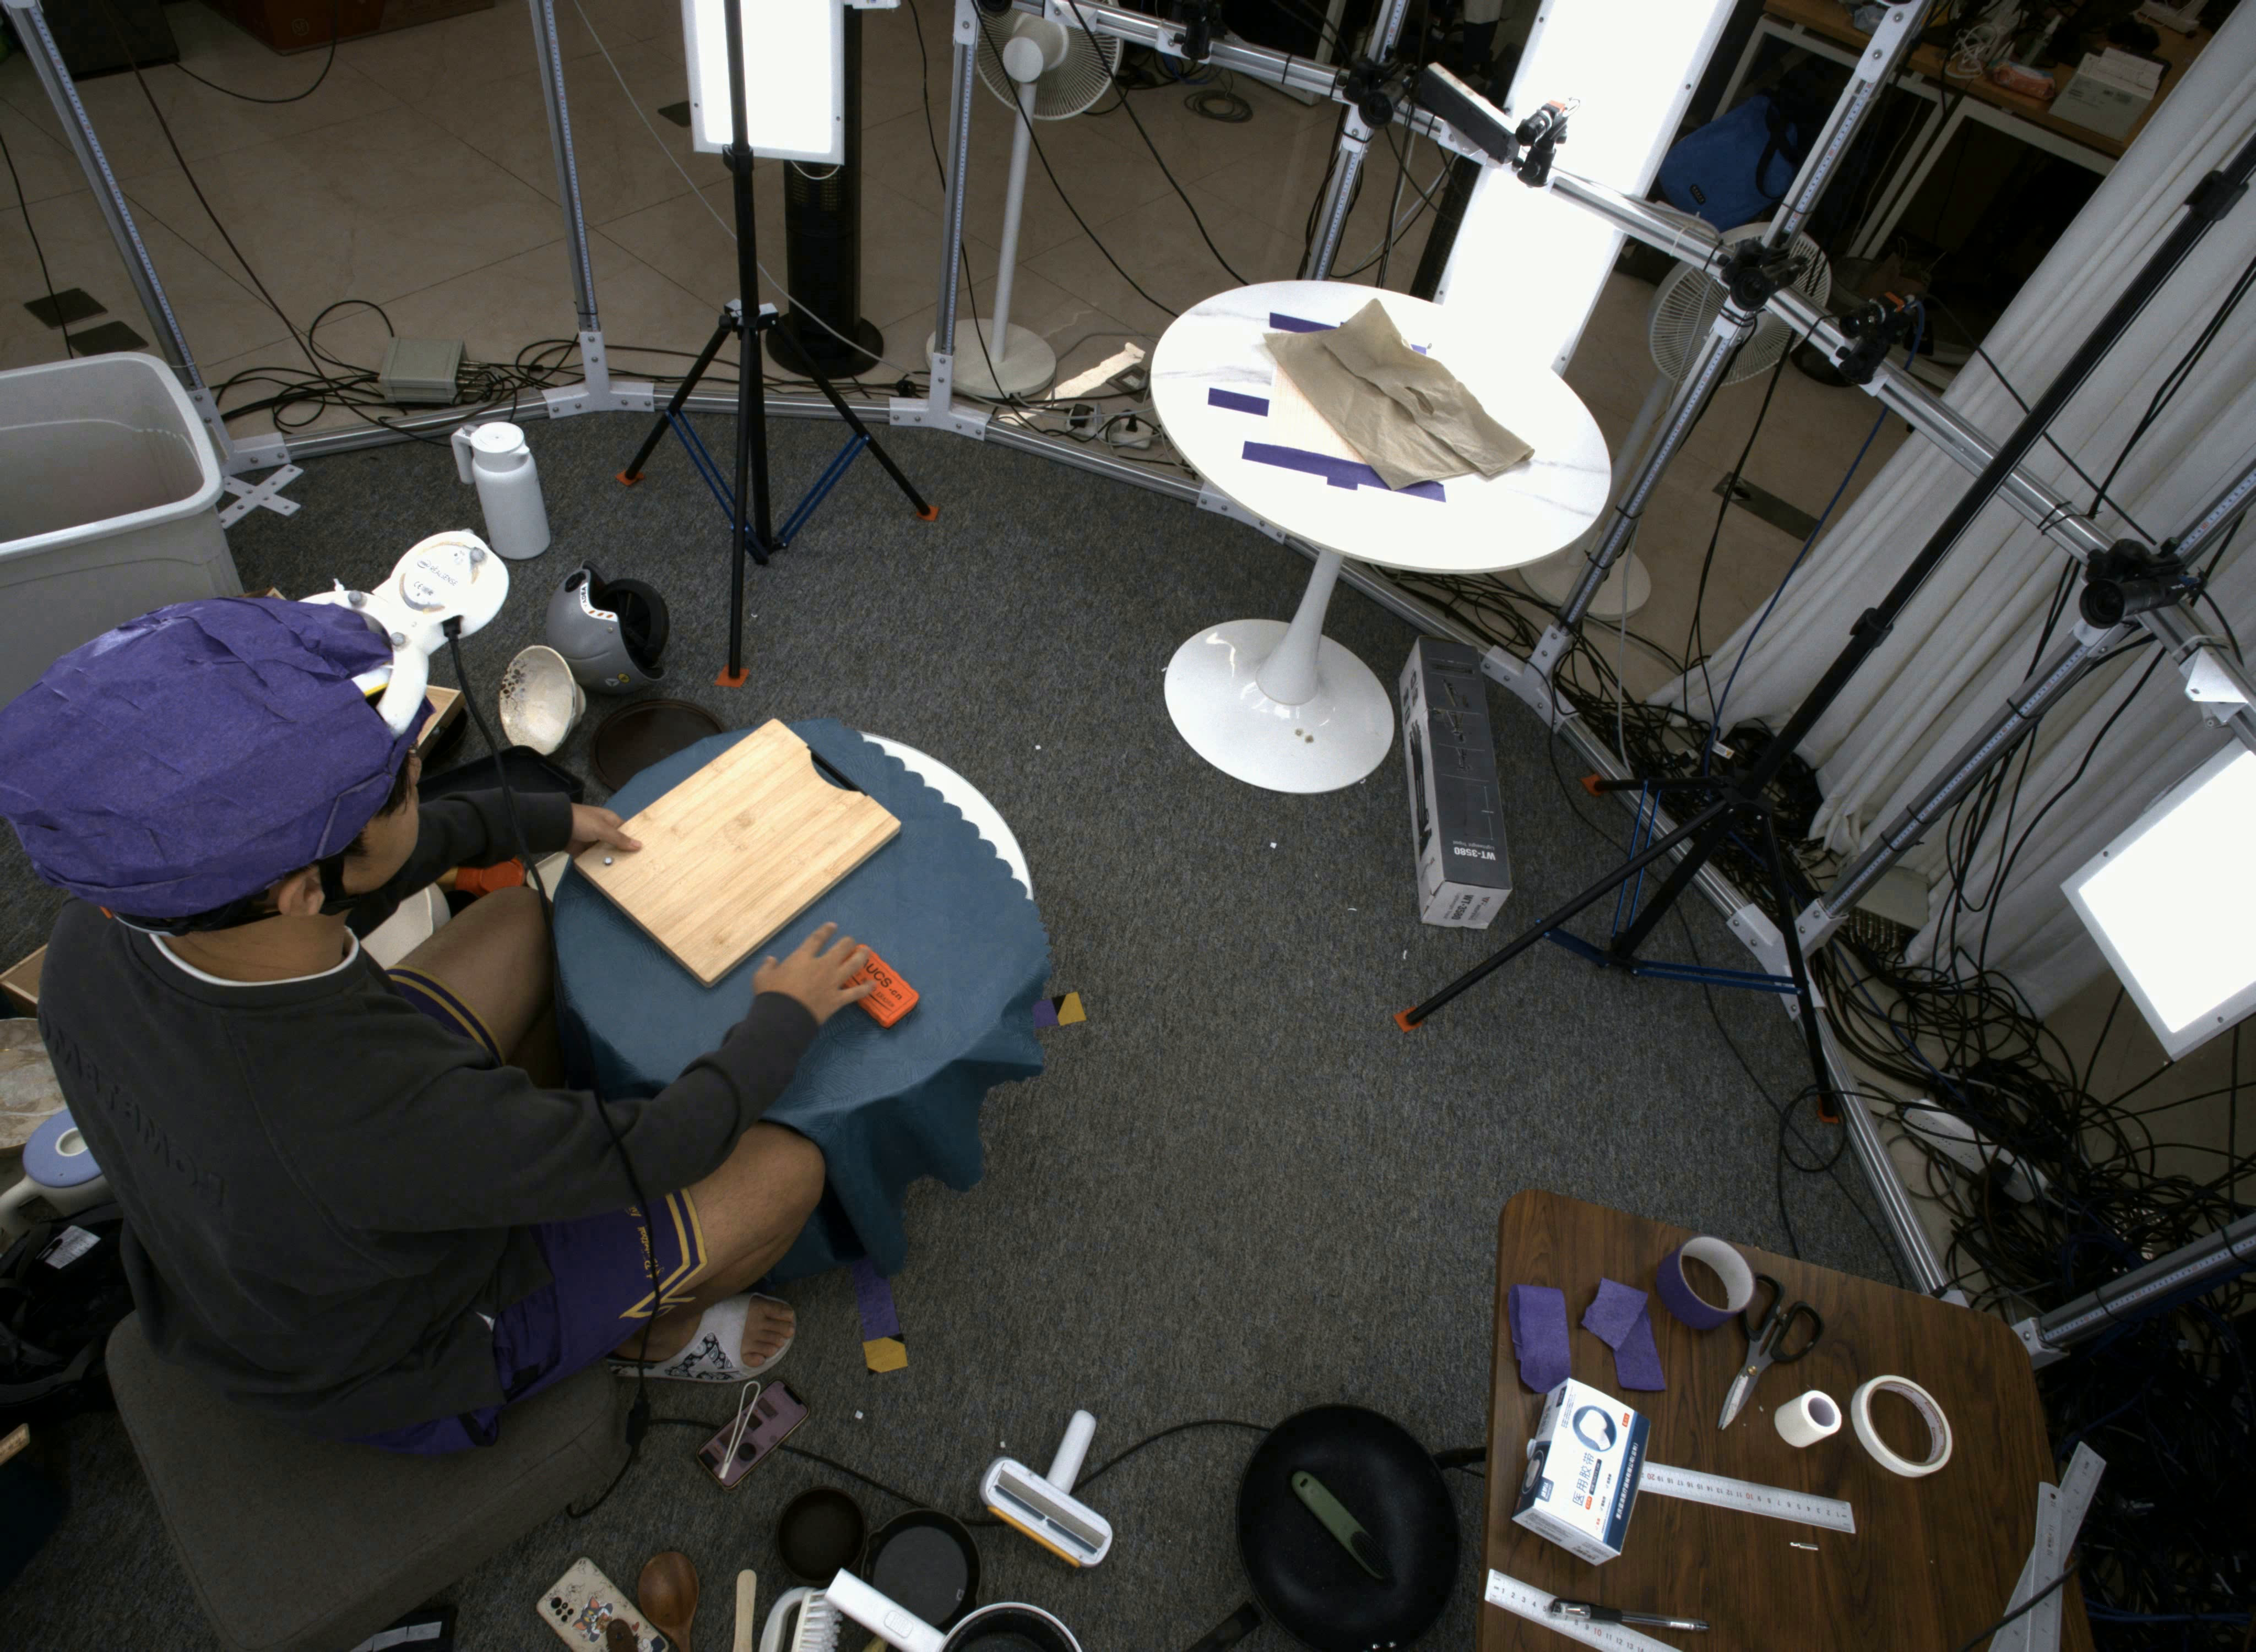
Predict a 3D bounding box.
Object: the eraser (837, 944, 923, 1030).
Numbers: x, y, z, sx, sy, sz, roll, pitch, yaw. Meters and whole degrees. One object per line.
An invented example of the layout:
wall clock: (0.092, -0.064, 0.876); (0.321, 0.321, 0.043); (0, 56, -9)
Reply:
eraser: (-0.305, 0.195, 1.598); (0.105, 0.023, 0.059); (40, 55, 17)

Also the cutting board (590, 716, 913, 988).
cutting board: (-0.486, 0.021, 1.672); (0.247, 0.024, 0.348); (39, 54, 8)
